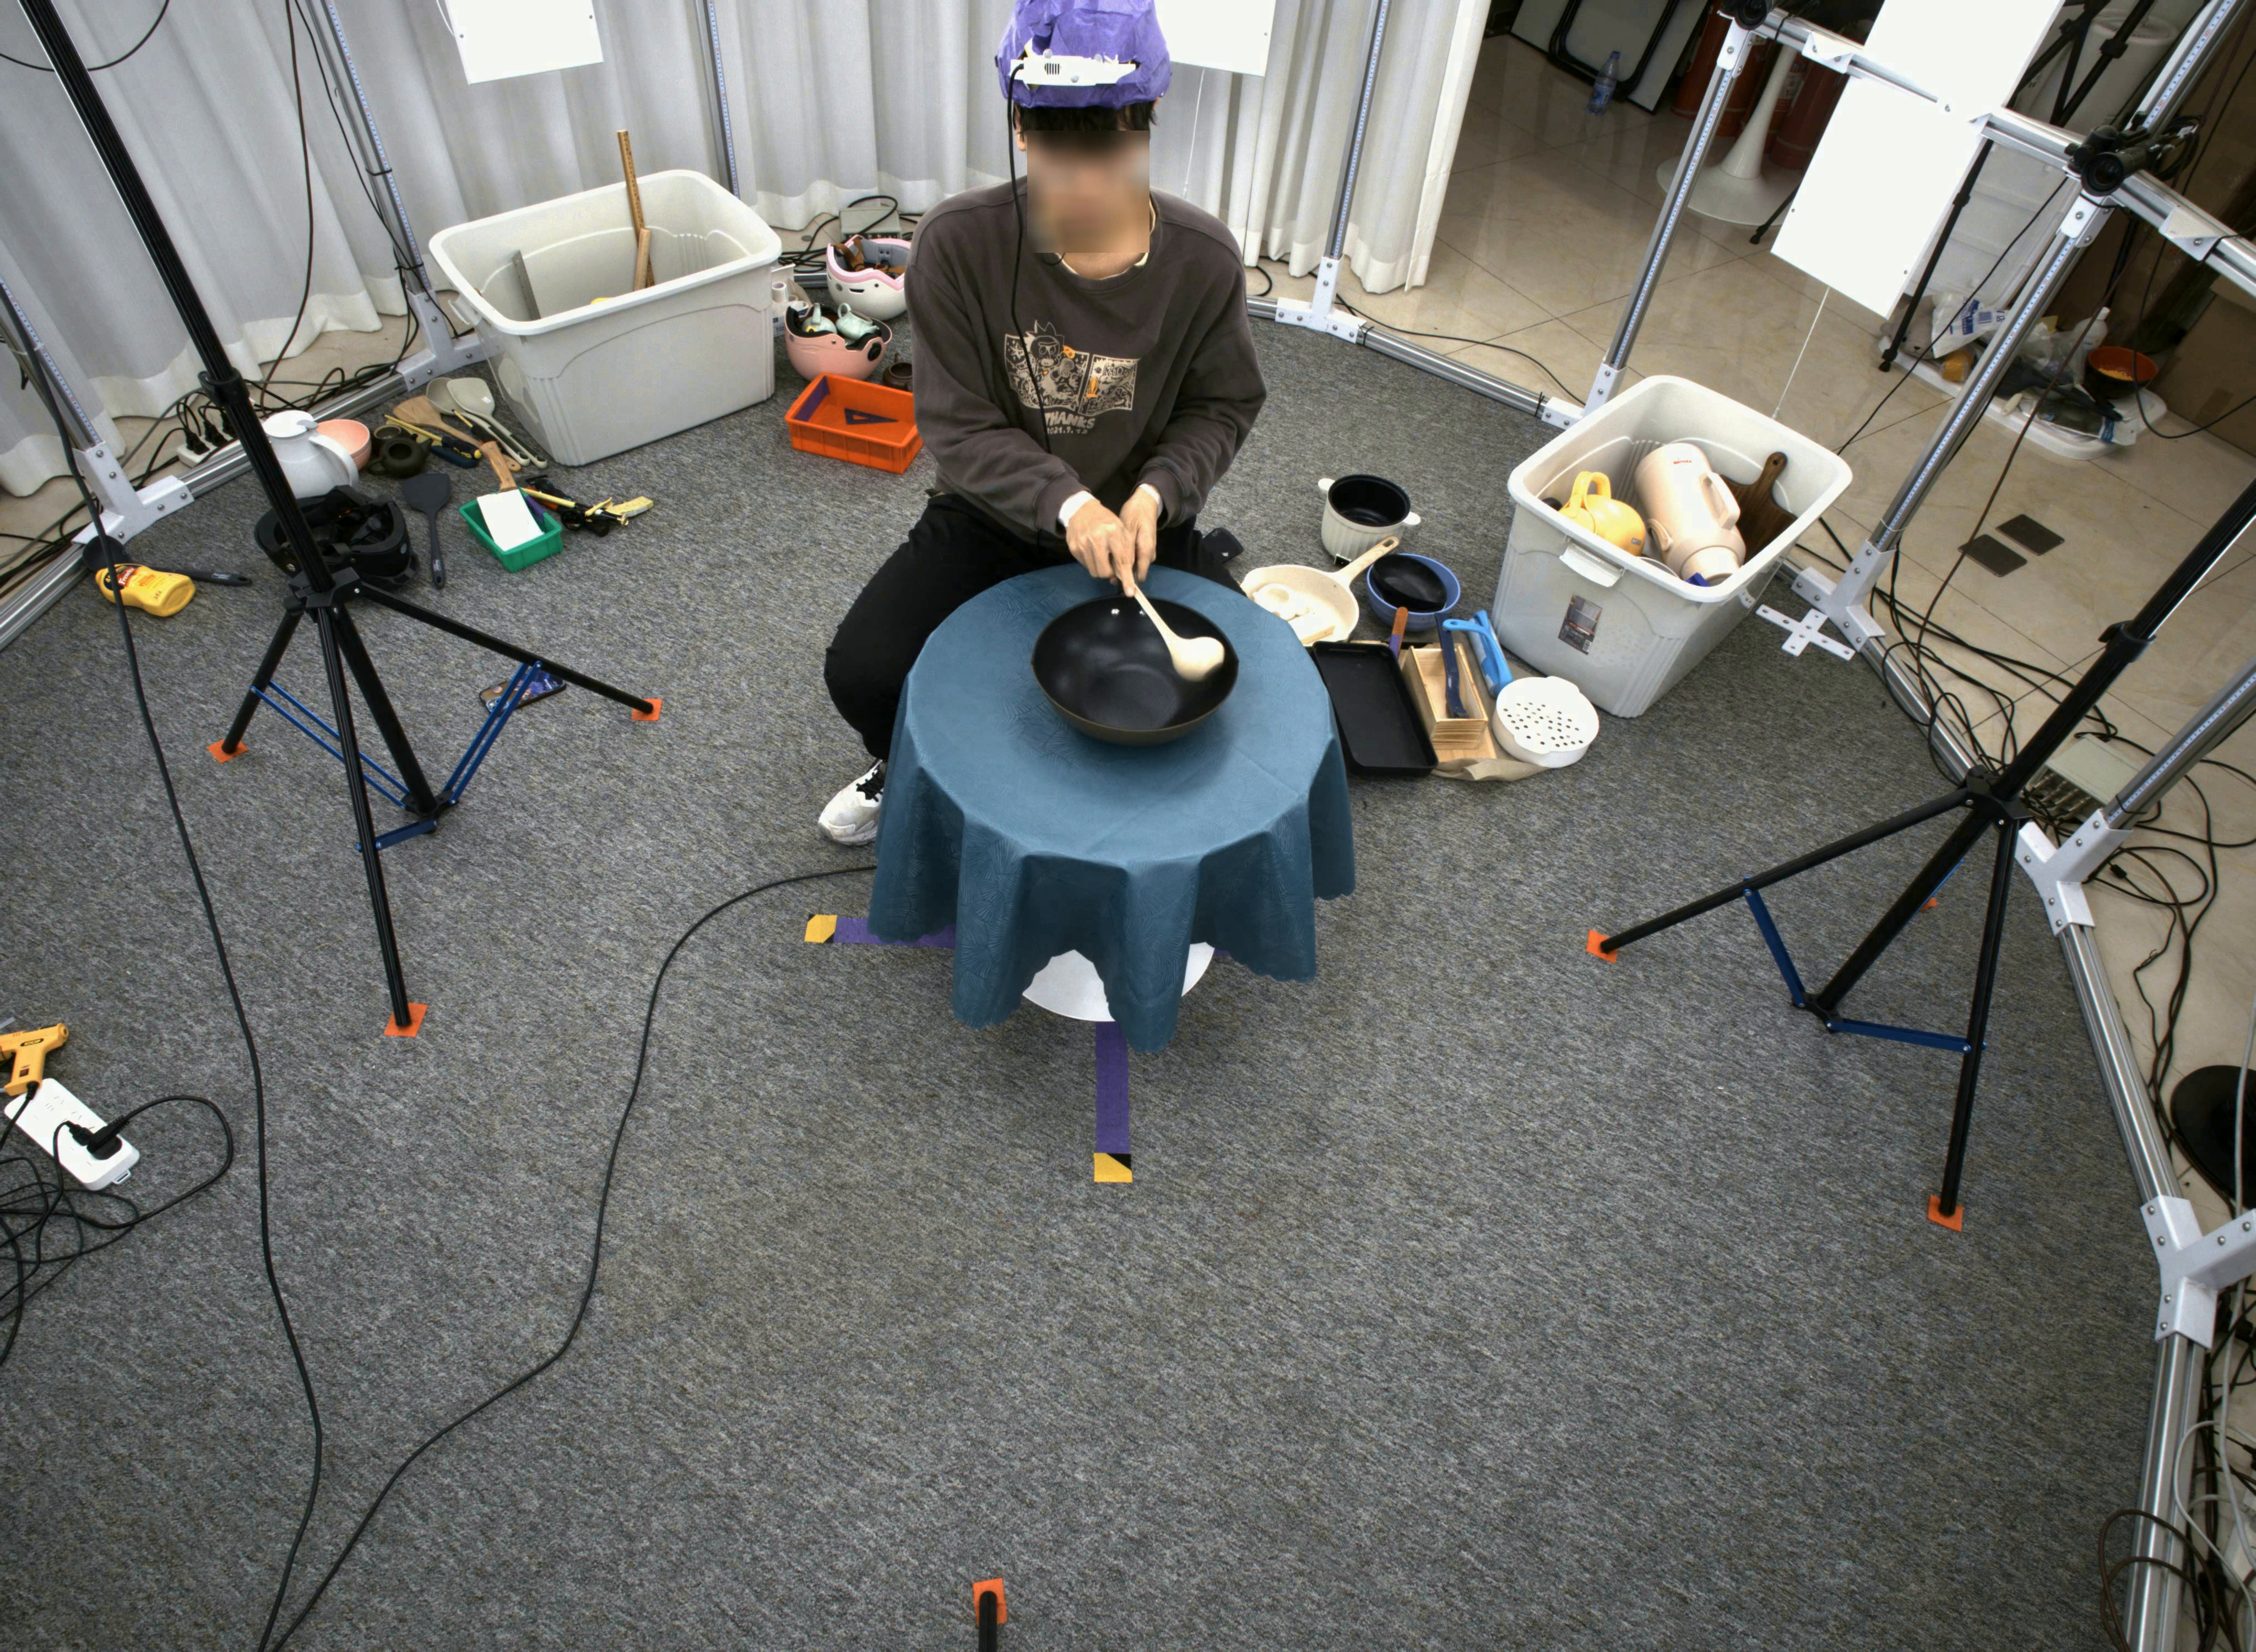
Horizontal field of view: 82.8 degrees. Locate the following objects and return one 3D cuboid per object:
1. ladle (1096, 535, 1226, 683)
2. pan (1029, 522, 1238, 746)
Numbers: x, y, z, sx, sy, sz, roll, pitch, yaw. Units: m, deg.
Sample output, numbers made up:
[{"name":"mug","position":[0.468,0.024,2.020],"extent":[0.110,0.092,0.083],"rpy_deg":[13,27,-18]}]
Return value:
[{"name":"ladle","position":[0.047,-0.312,1.808],"extent":[0.073,0.071,0.258],"rpy_deg":[-15,65,-47]},{"name":"pan","position":[0.002,-0.272,1.850],"extent":[0.288,0.085,0.475],"rpy_deg":[0,47,-3]}]
